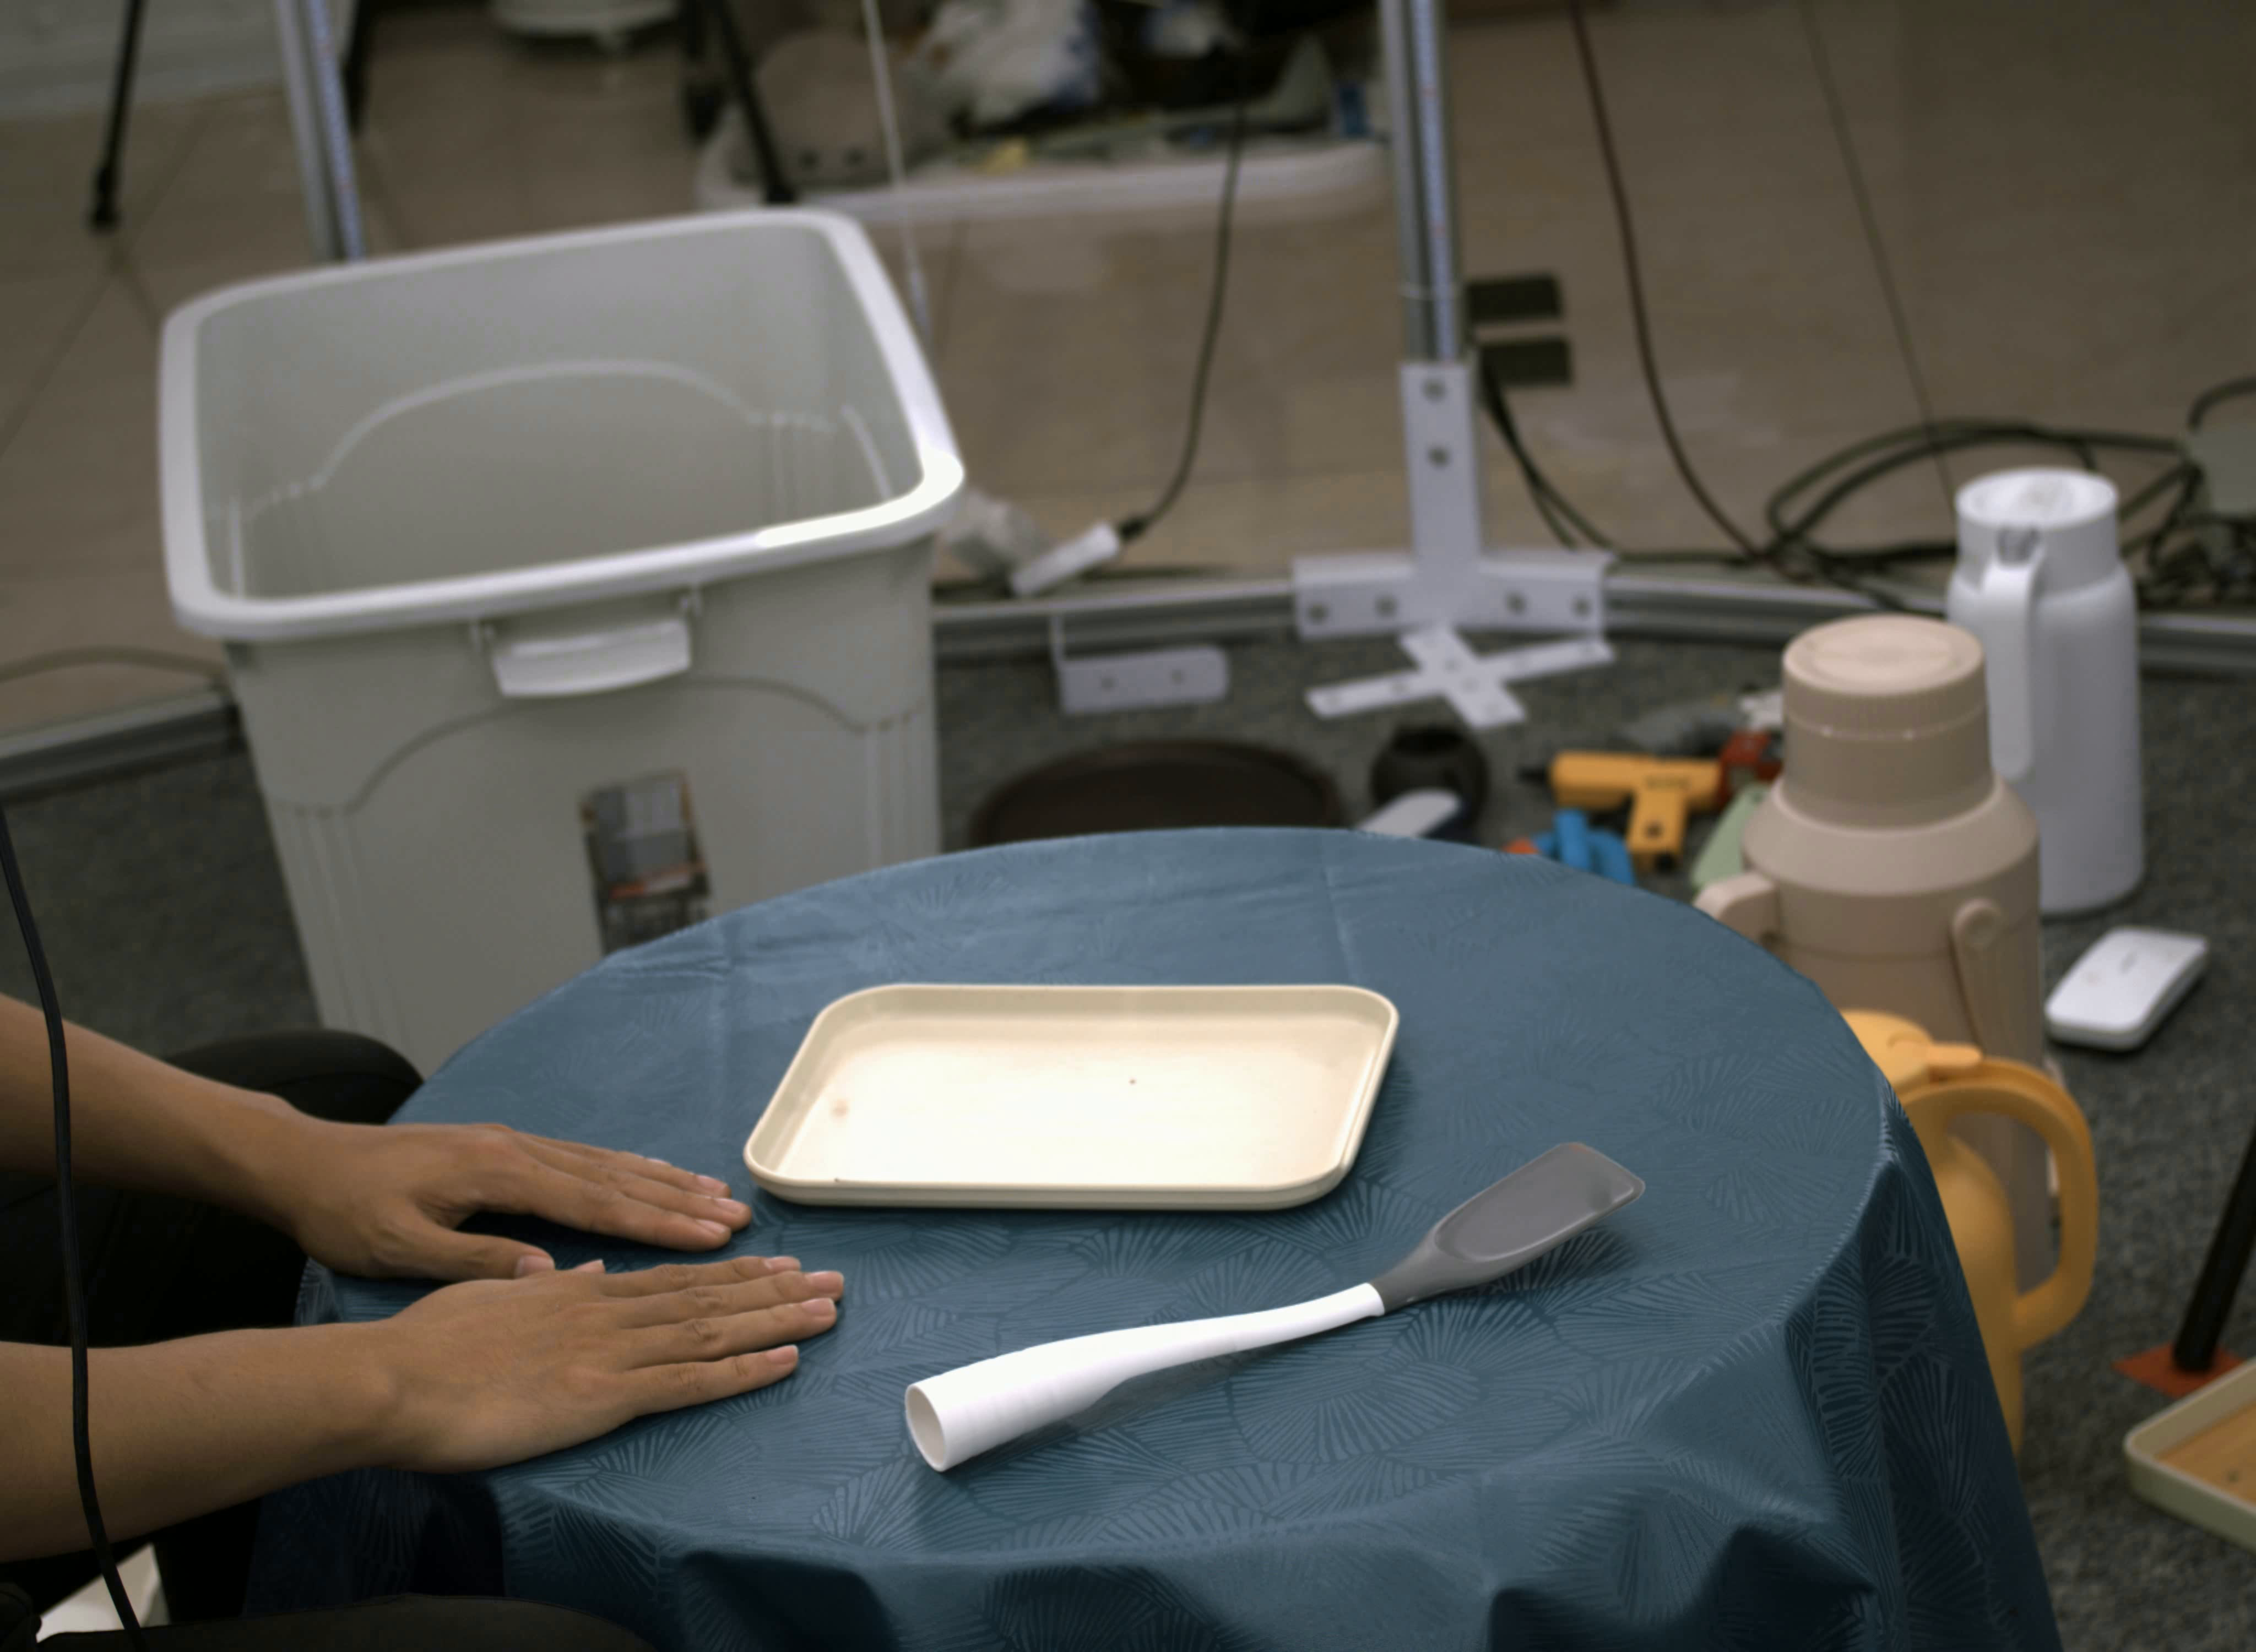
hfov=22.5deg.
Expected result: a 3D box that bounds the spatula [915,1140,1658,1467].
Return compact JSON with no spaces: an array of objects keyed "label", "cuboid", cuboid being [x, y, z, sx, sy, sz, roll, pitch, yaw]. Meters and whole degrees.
[{"label":"spatula","cuboid":[0.058,0.170,2.030,0.286,0.032,0.058,-17,23,-23]}]

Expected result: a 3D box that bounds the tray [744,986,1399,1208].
[{"label":"tray","cuboid":[-0.020,0.106,2.207,0.239,0.018,0.169,0,24,13]}]
